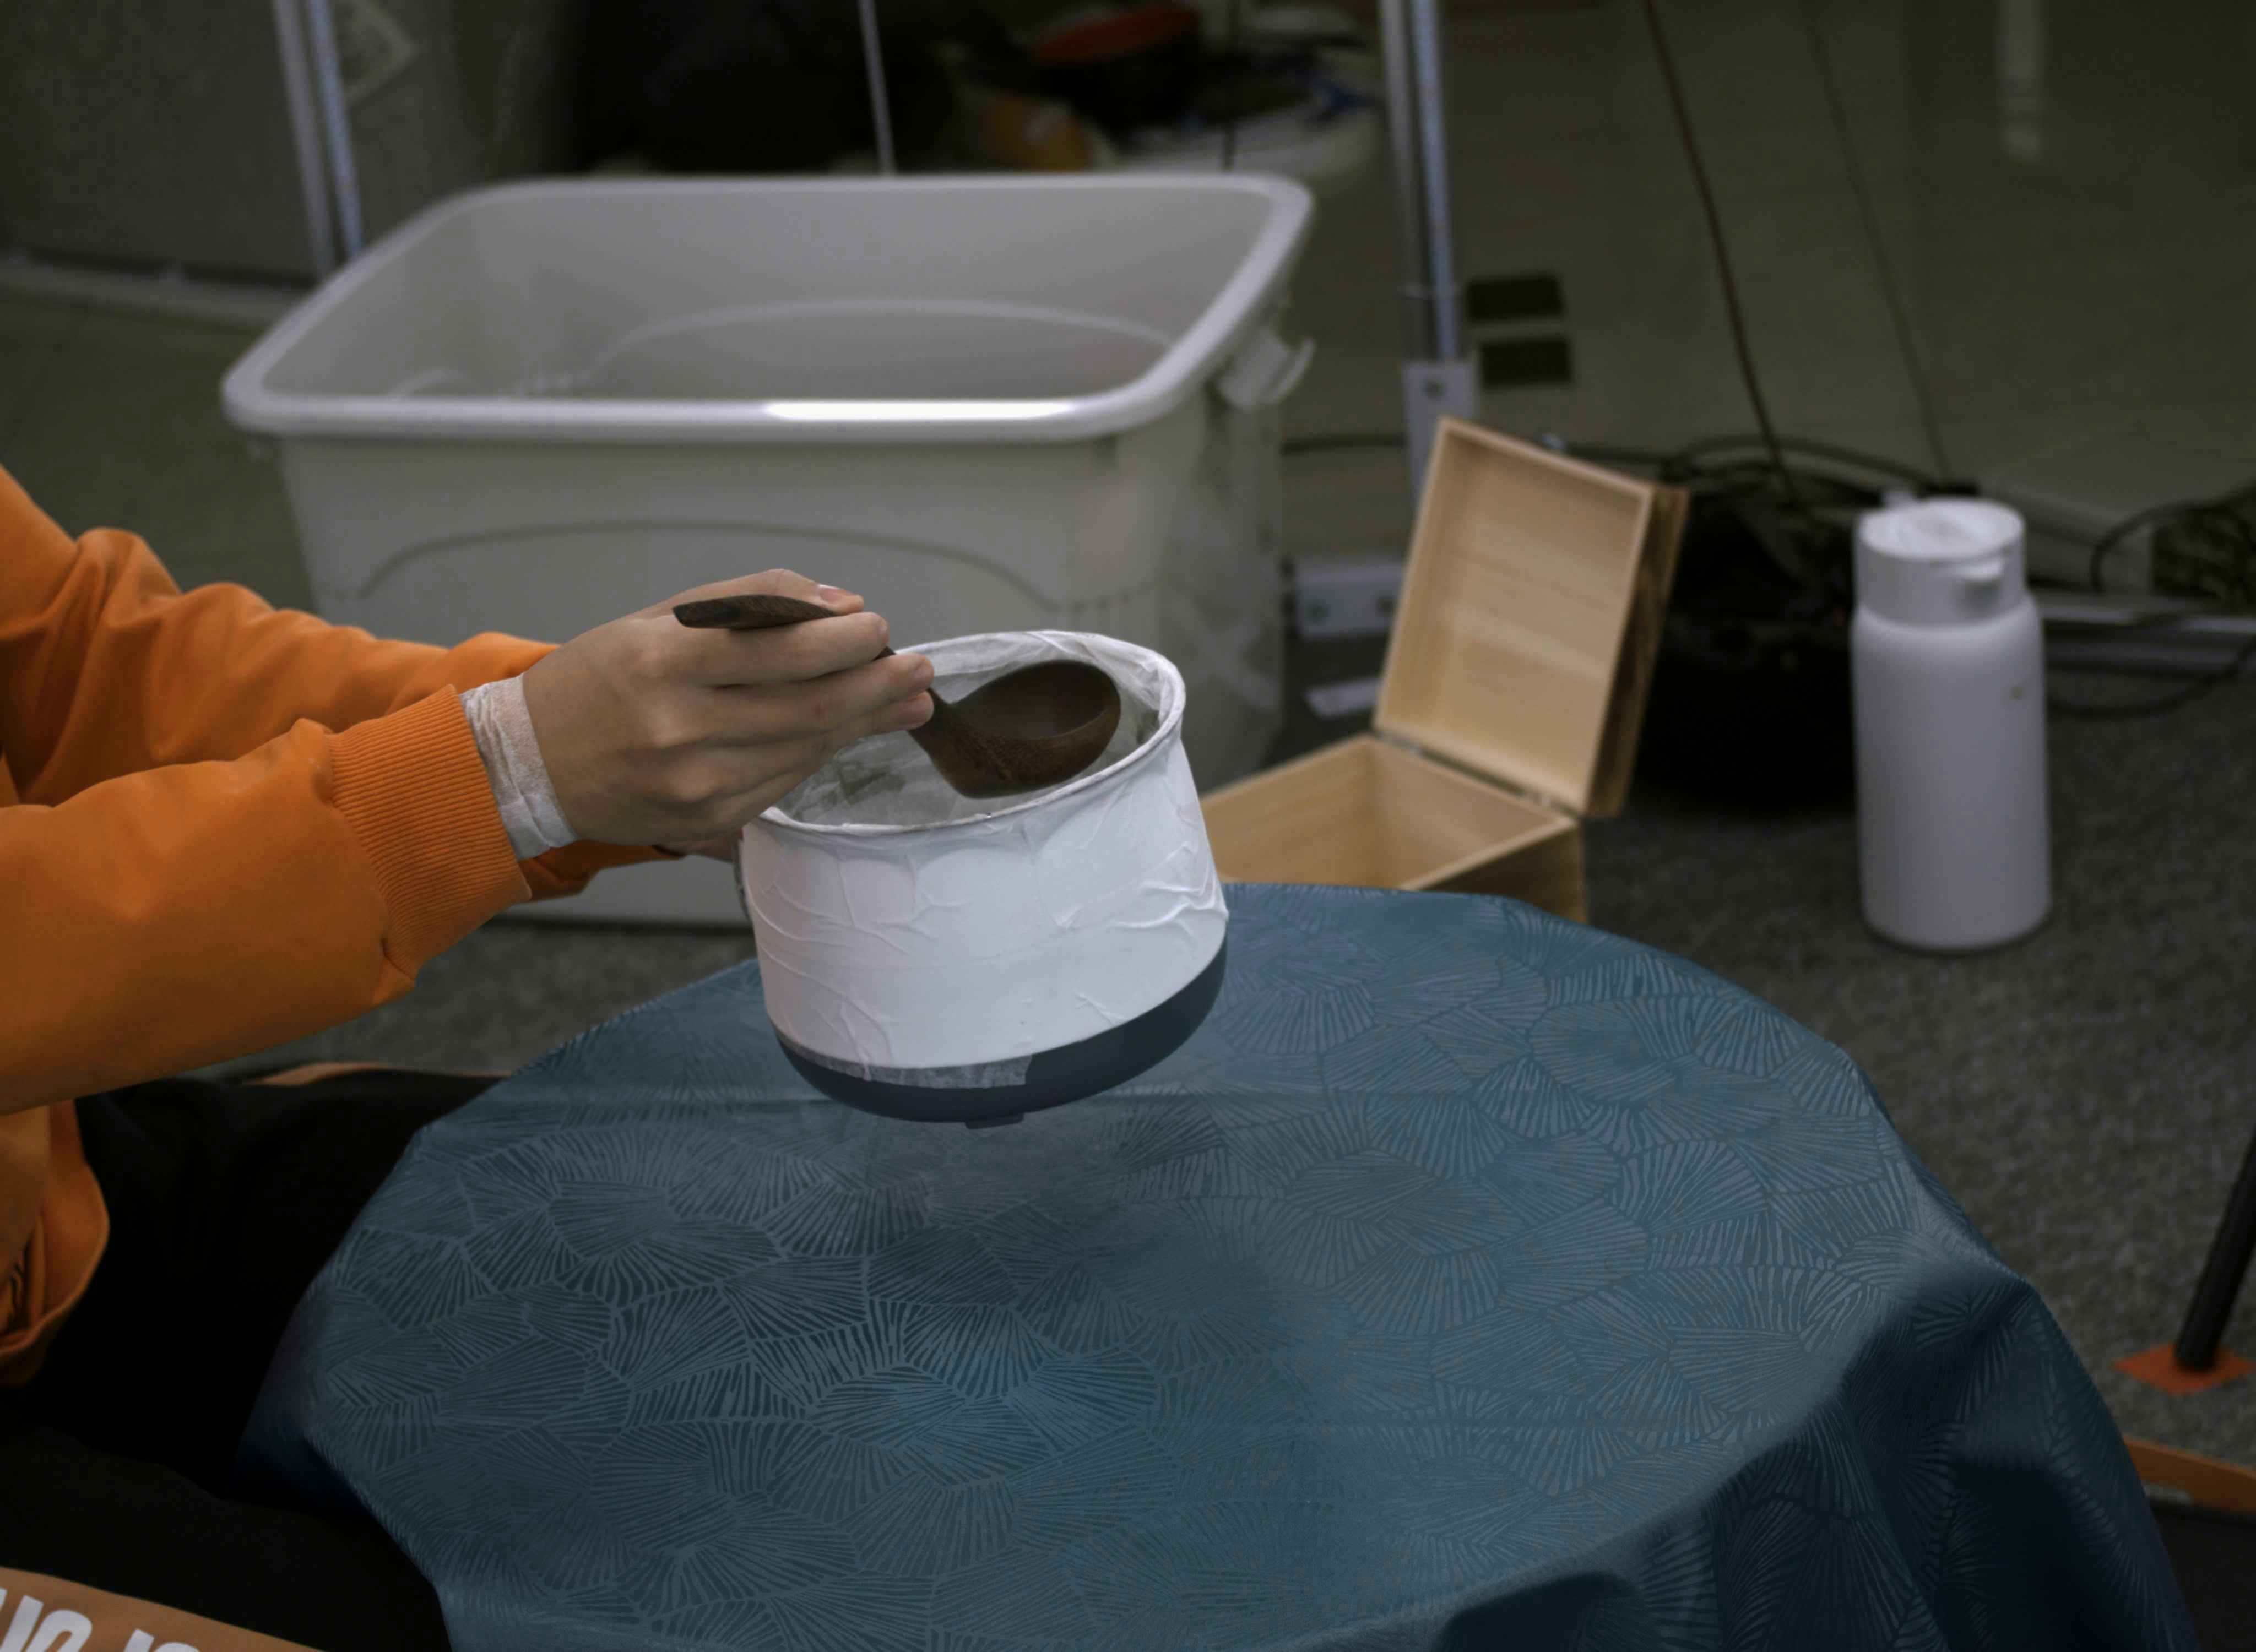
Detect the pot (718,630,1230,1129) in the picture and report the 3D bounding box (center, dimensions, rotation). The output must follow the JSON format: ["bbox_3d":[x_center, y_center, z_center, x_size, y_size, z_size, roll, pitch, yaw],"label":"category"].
[{"bbox_3d":[-0.073,0.015,2.138,0.177,0.139,0.232,-28,30,-35],"label":"pot"}]

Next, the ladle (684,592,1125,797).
[{"bbox_3d":[-0.082,-0.067,1.993,0.076,0.070,0.276,-12,-20,22],"label":"ladle"}]
